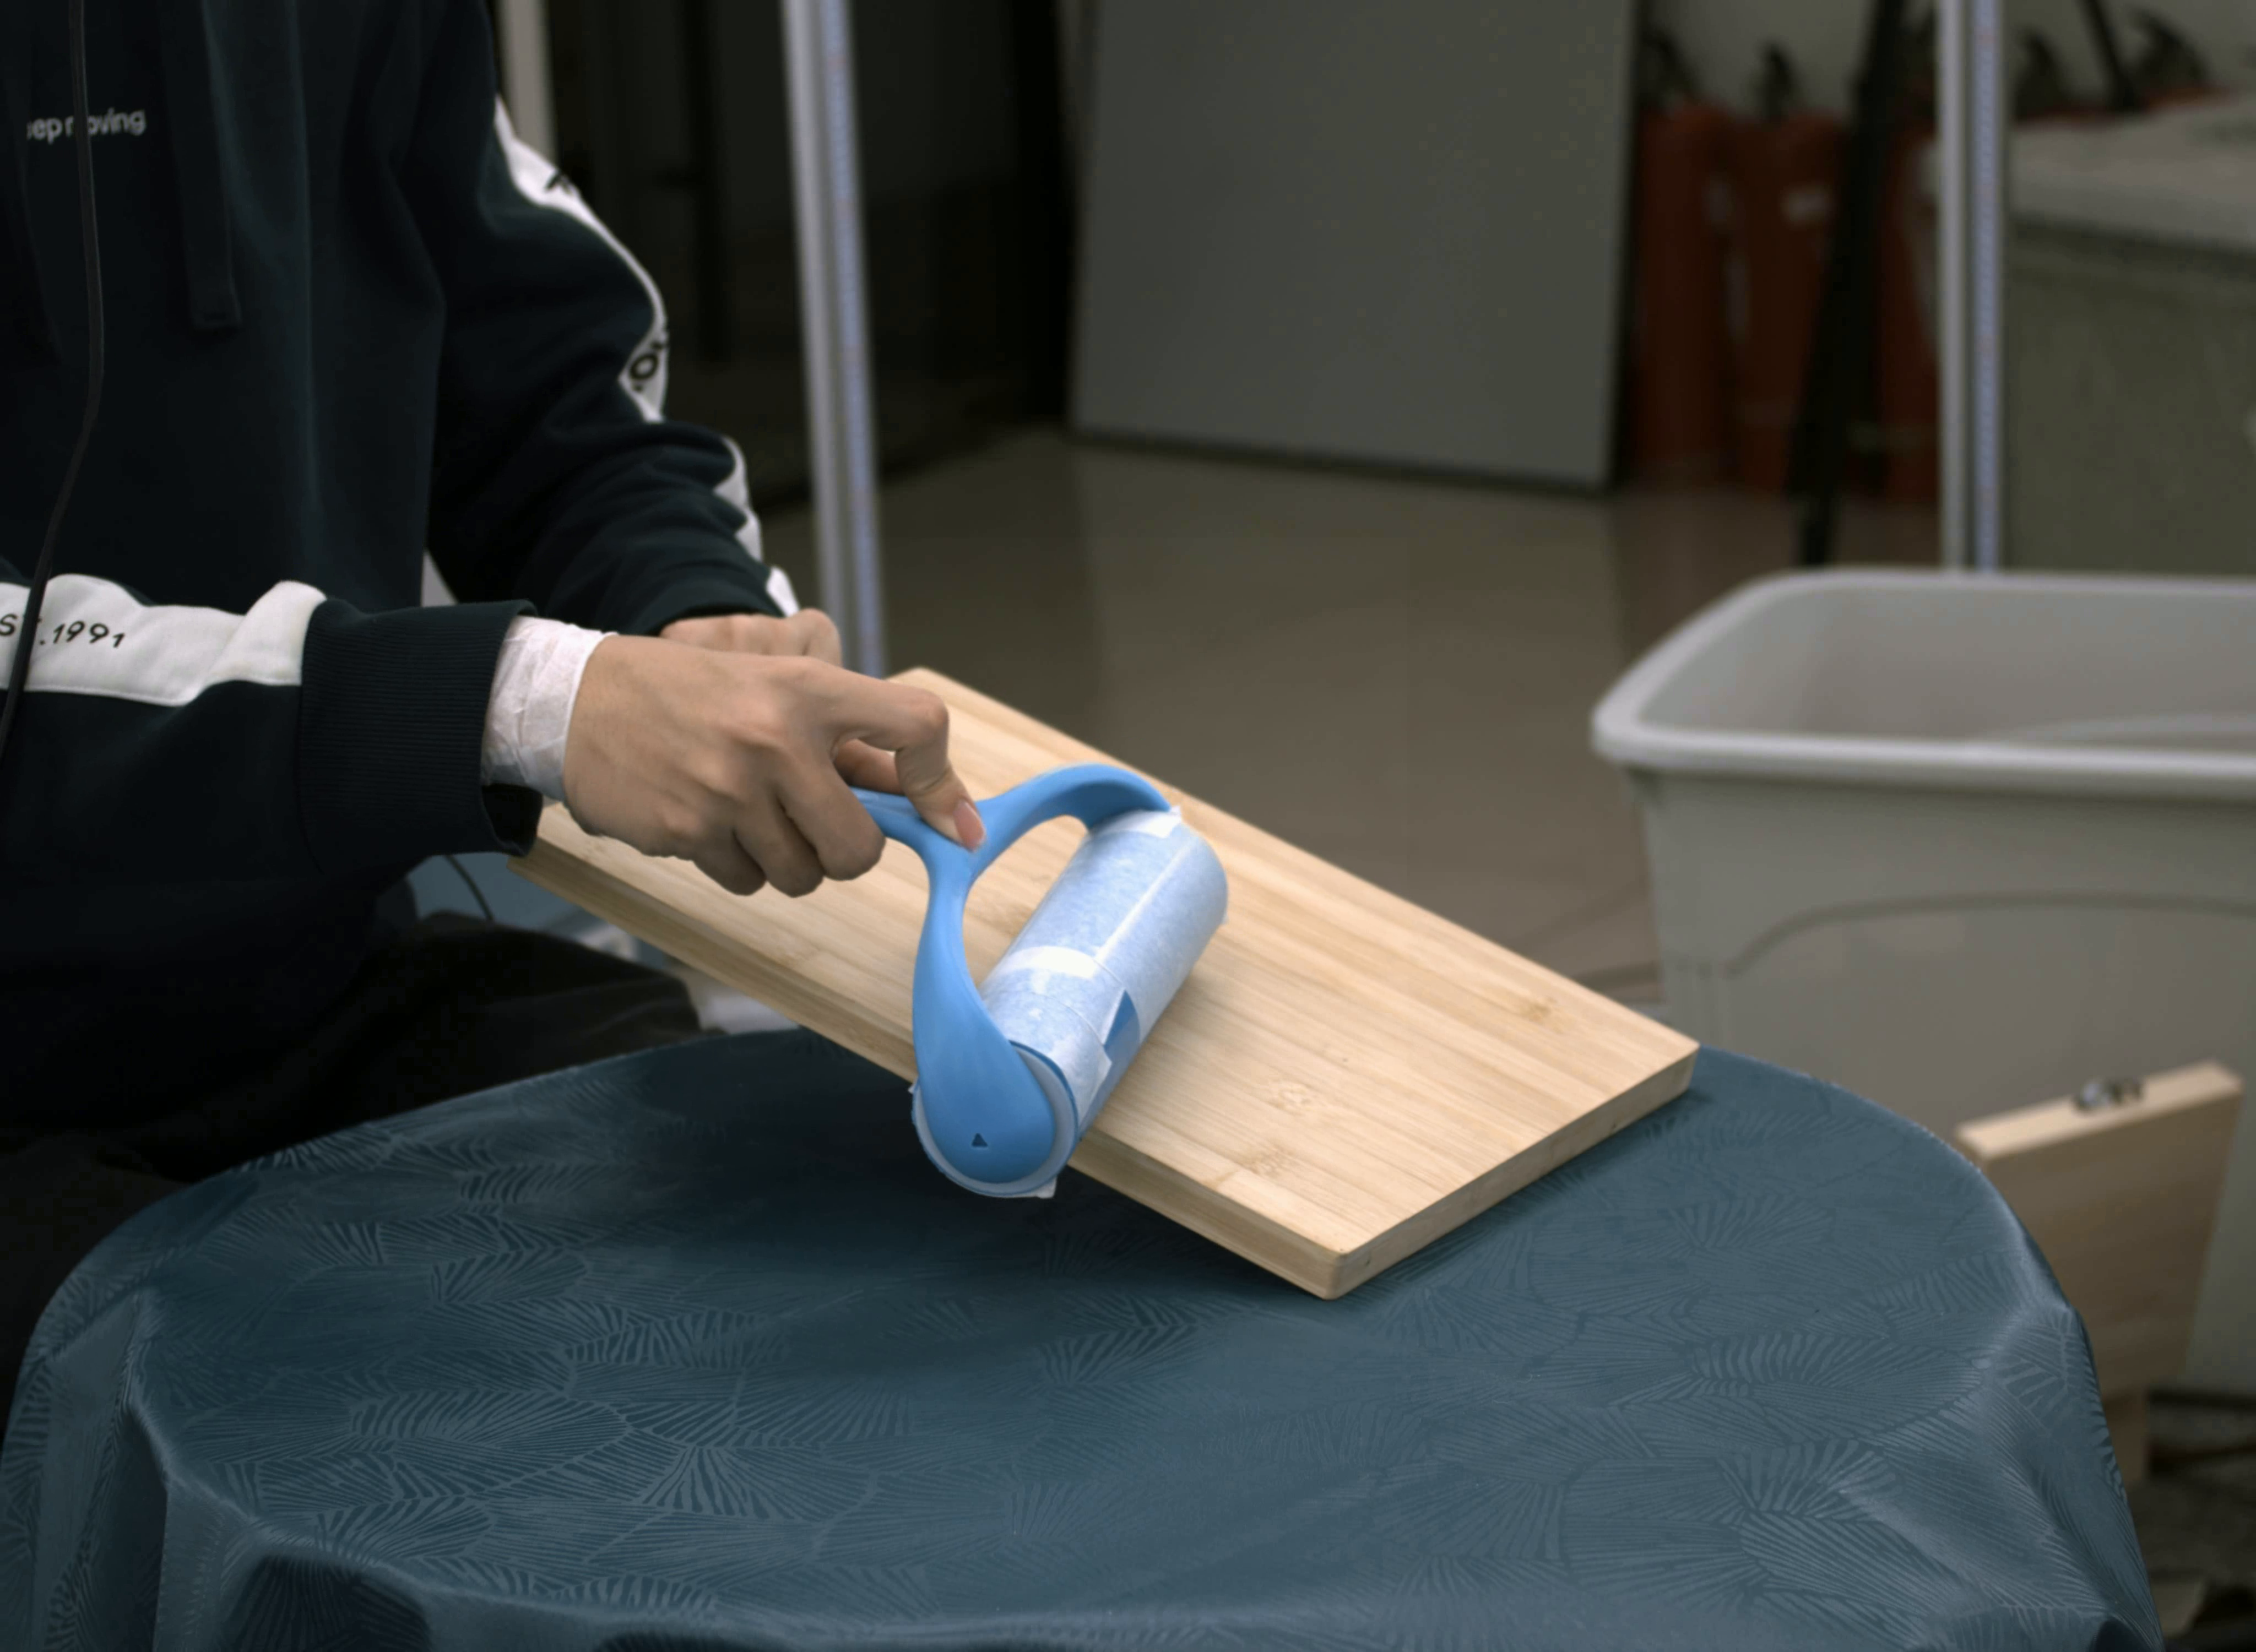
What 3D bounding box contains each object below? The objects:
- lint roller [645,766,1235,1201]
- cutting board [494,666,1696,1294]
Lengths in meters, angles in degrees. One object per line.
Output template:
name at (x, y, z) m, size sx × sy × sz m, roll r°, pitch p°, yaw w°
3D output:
lint roller at (-0.065, 0.026, 1.713) m, size 0.179 × 0.068 × 0.228 m, roll 27°, pitch 27°, yaw 2°
cutting board at (-0.010, 0.044, 1.824) m, size 0.350 × 0.024 × 0.246 m, roll 25°, pitch 27°, yaw 27°
